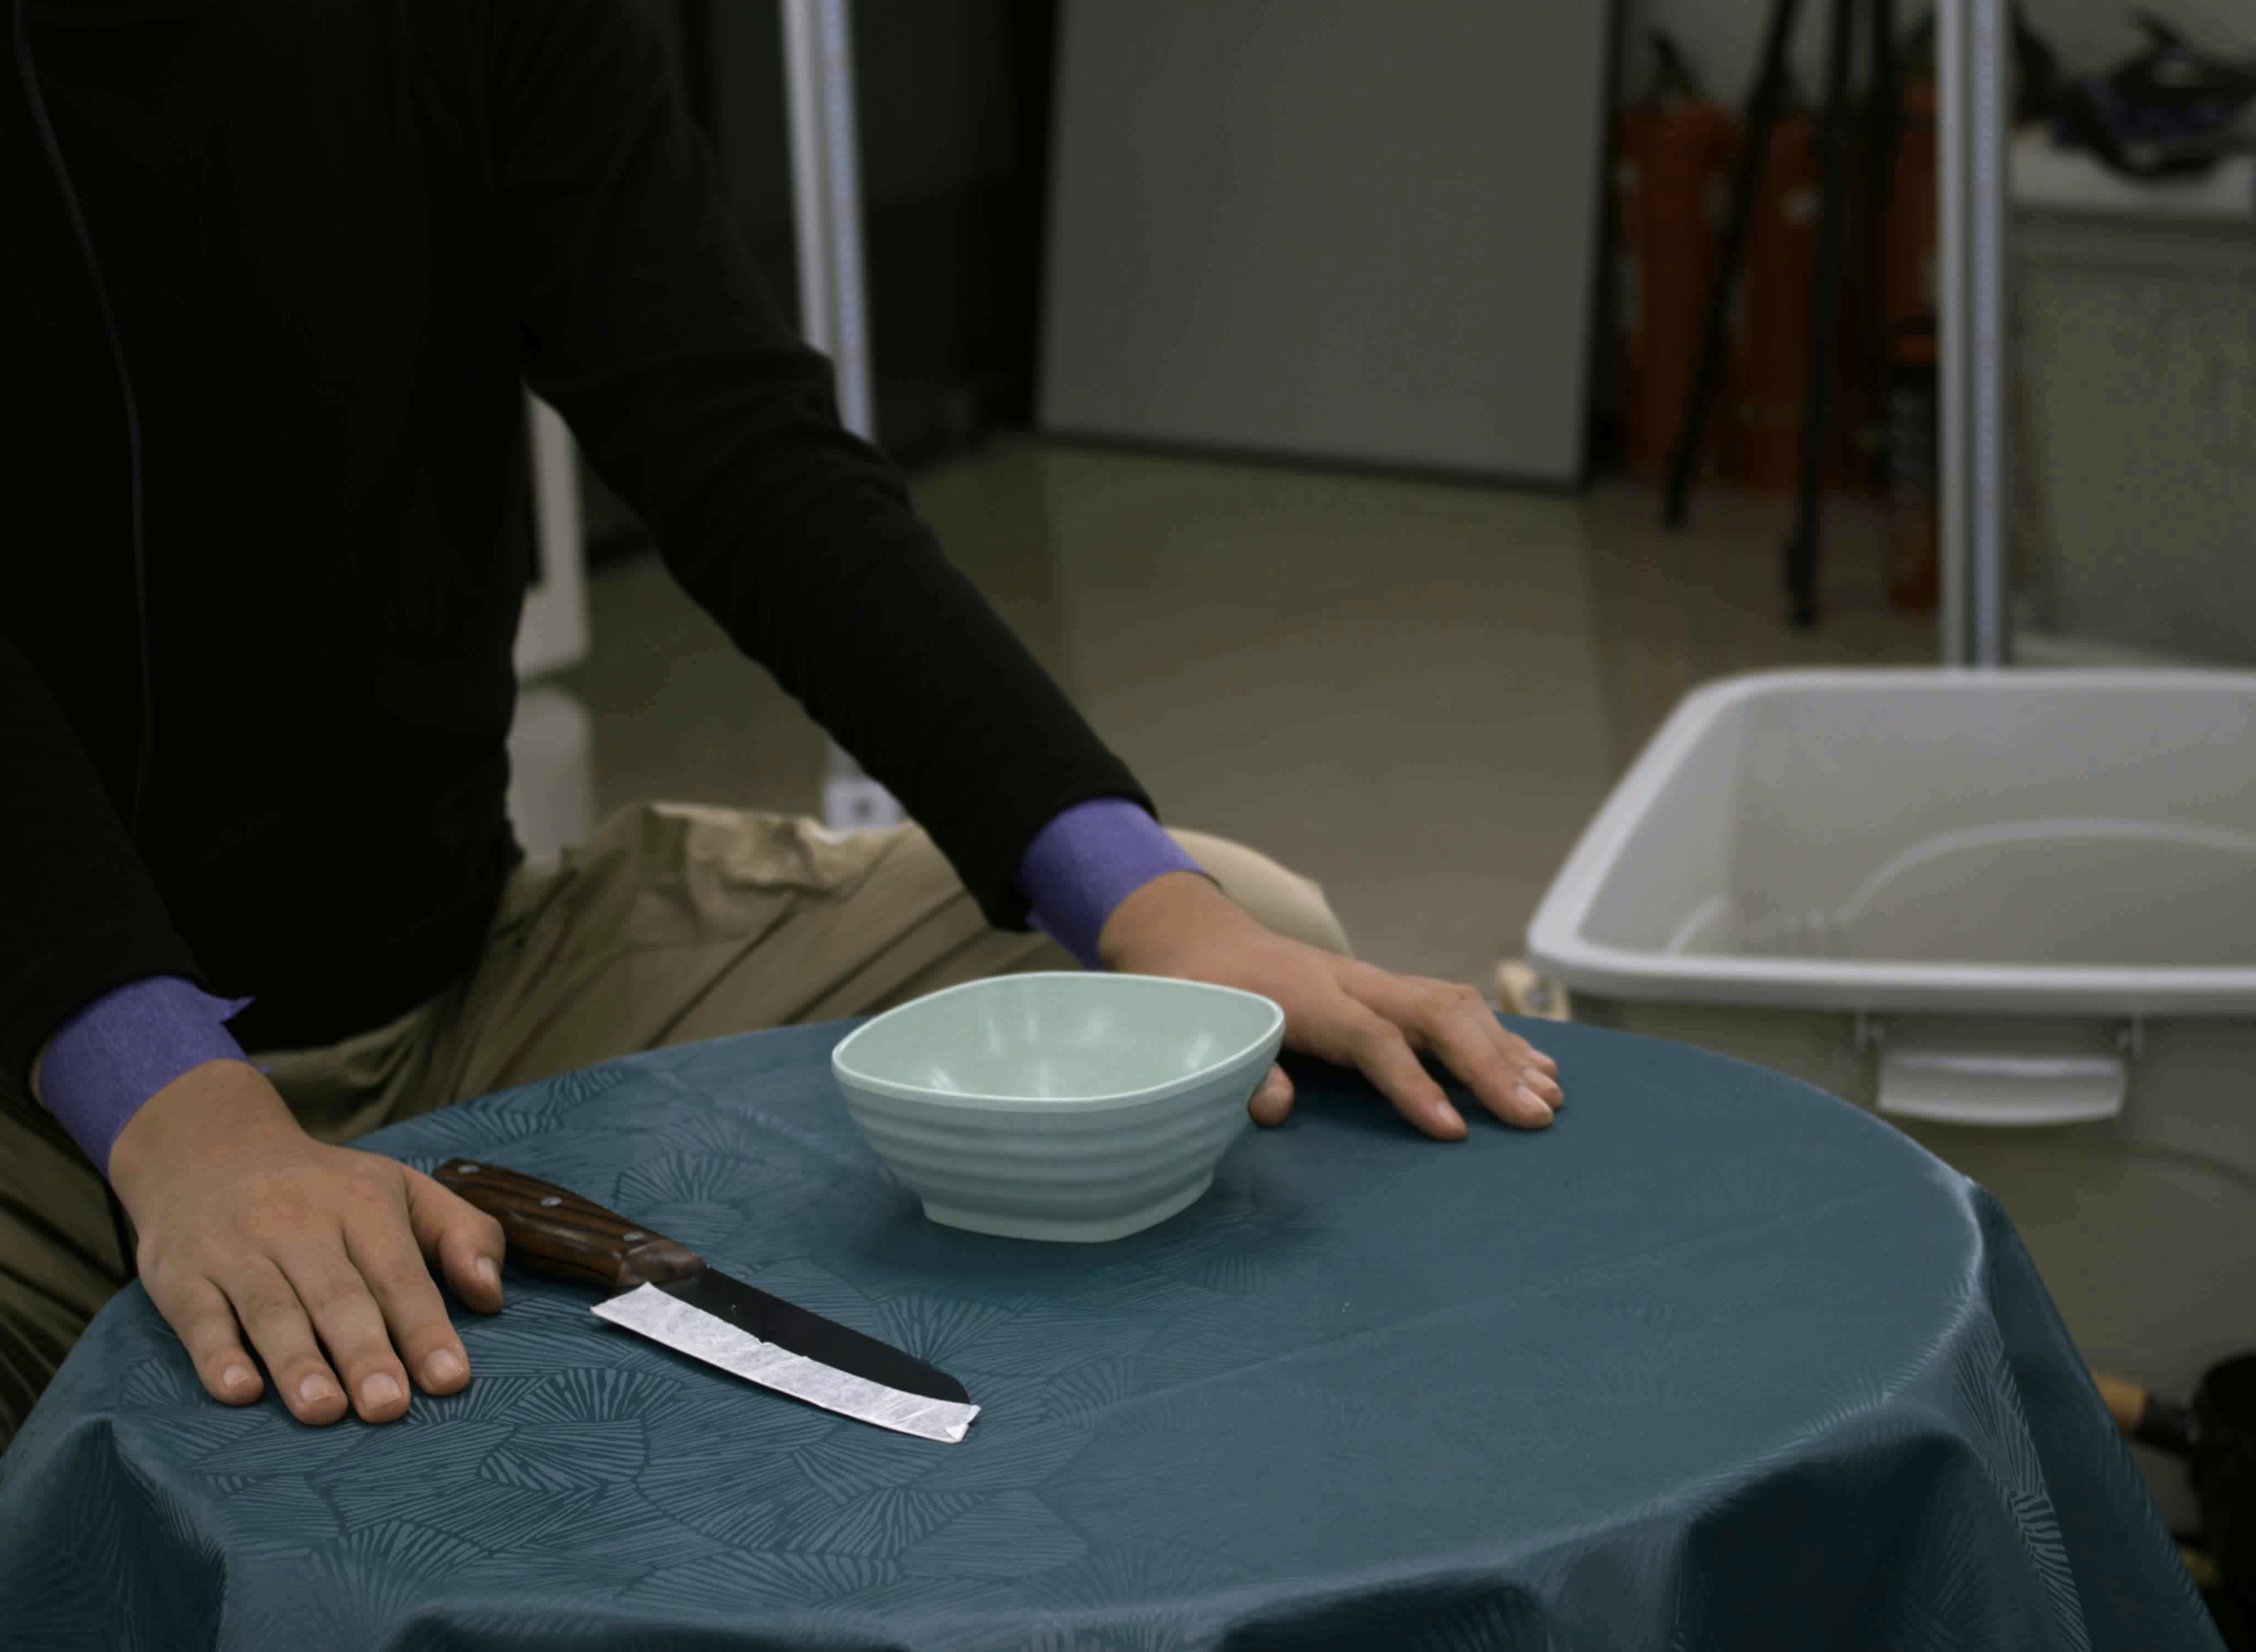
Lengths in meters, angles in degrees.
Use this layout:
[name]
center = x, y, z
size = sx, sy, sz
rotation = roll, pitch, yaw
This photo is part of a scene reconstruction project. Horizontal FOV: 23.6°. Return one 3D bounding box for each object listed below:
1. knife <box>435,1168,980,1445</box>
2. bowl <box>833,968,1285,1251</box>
[knife]
center = -0.133, 0.150, 1.671
size = 0.049, 0.020, 0.292
rotation = -20, 23, -33
[bowl]
center = -0.021, 0.096, 1.765
size = 0.149, 0.059, 0.152
rotation = -3, 15, 0
